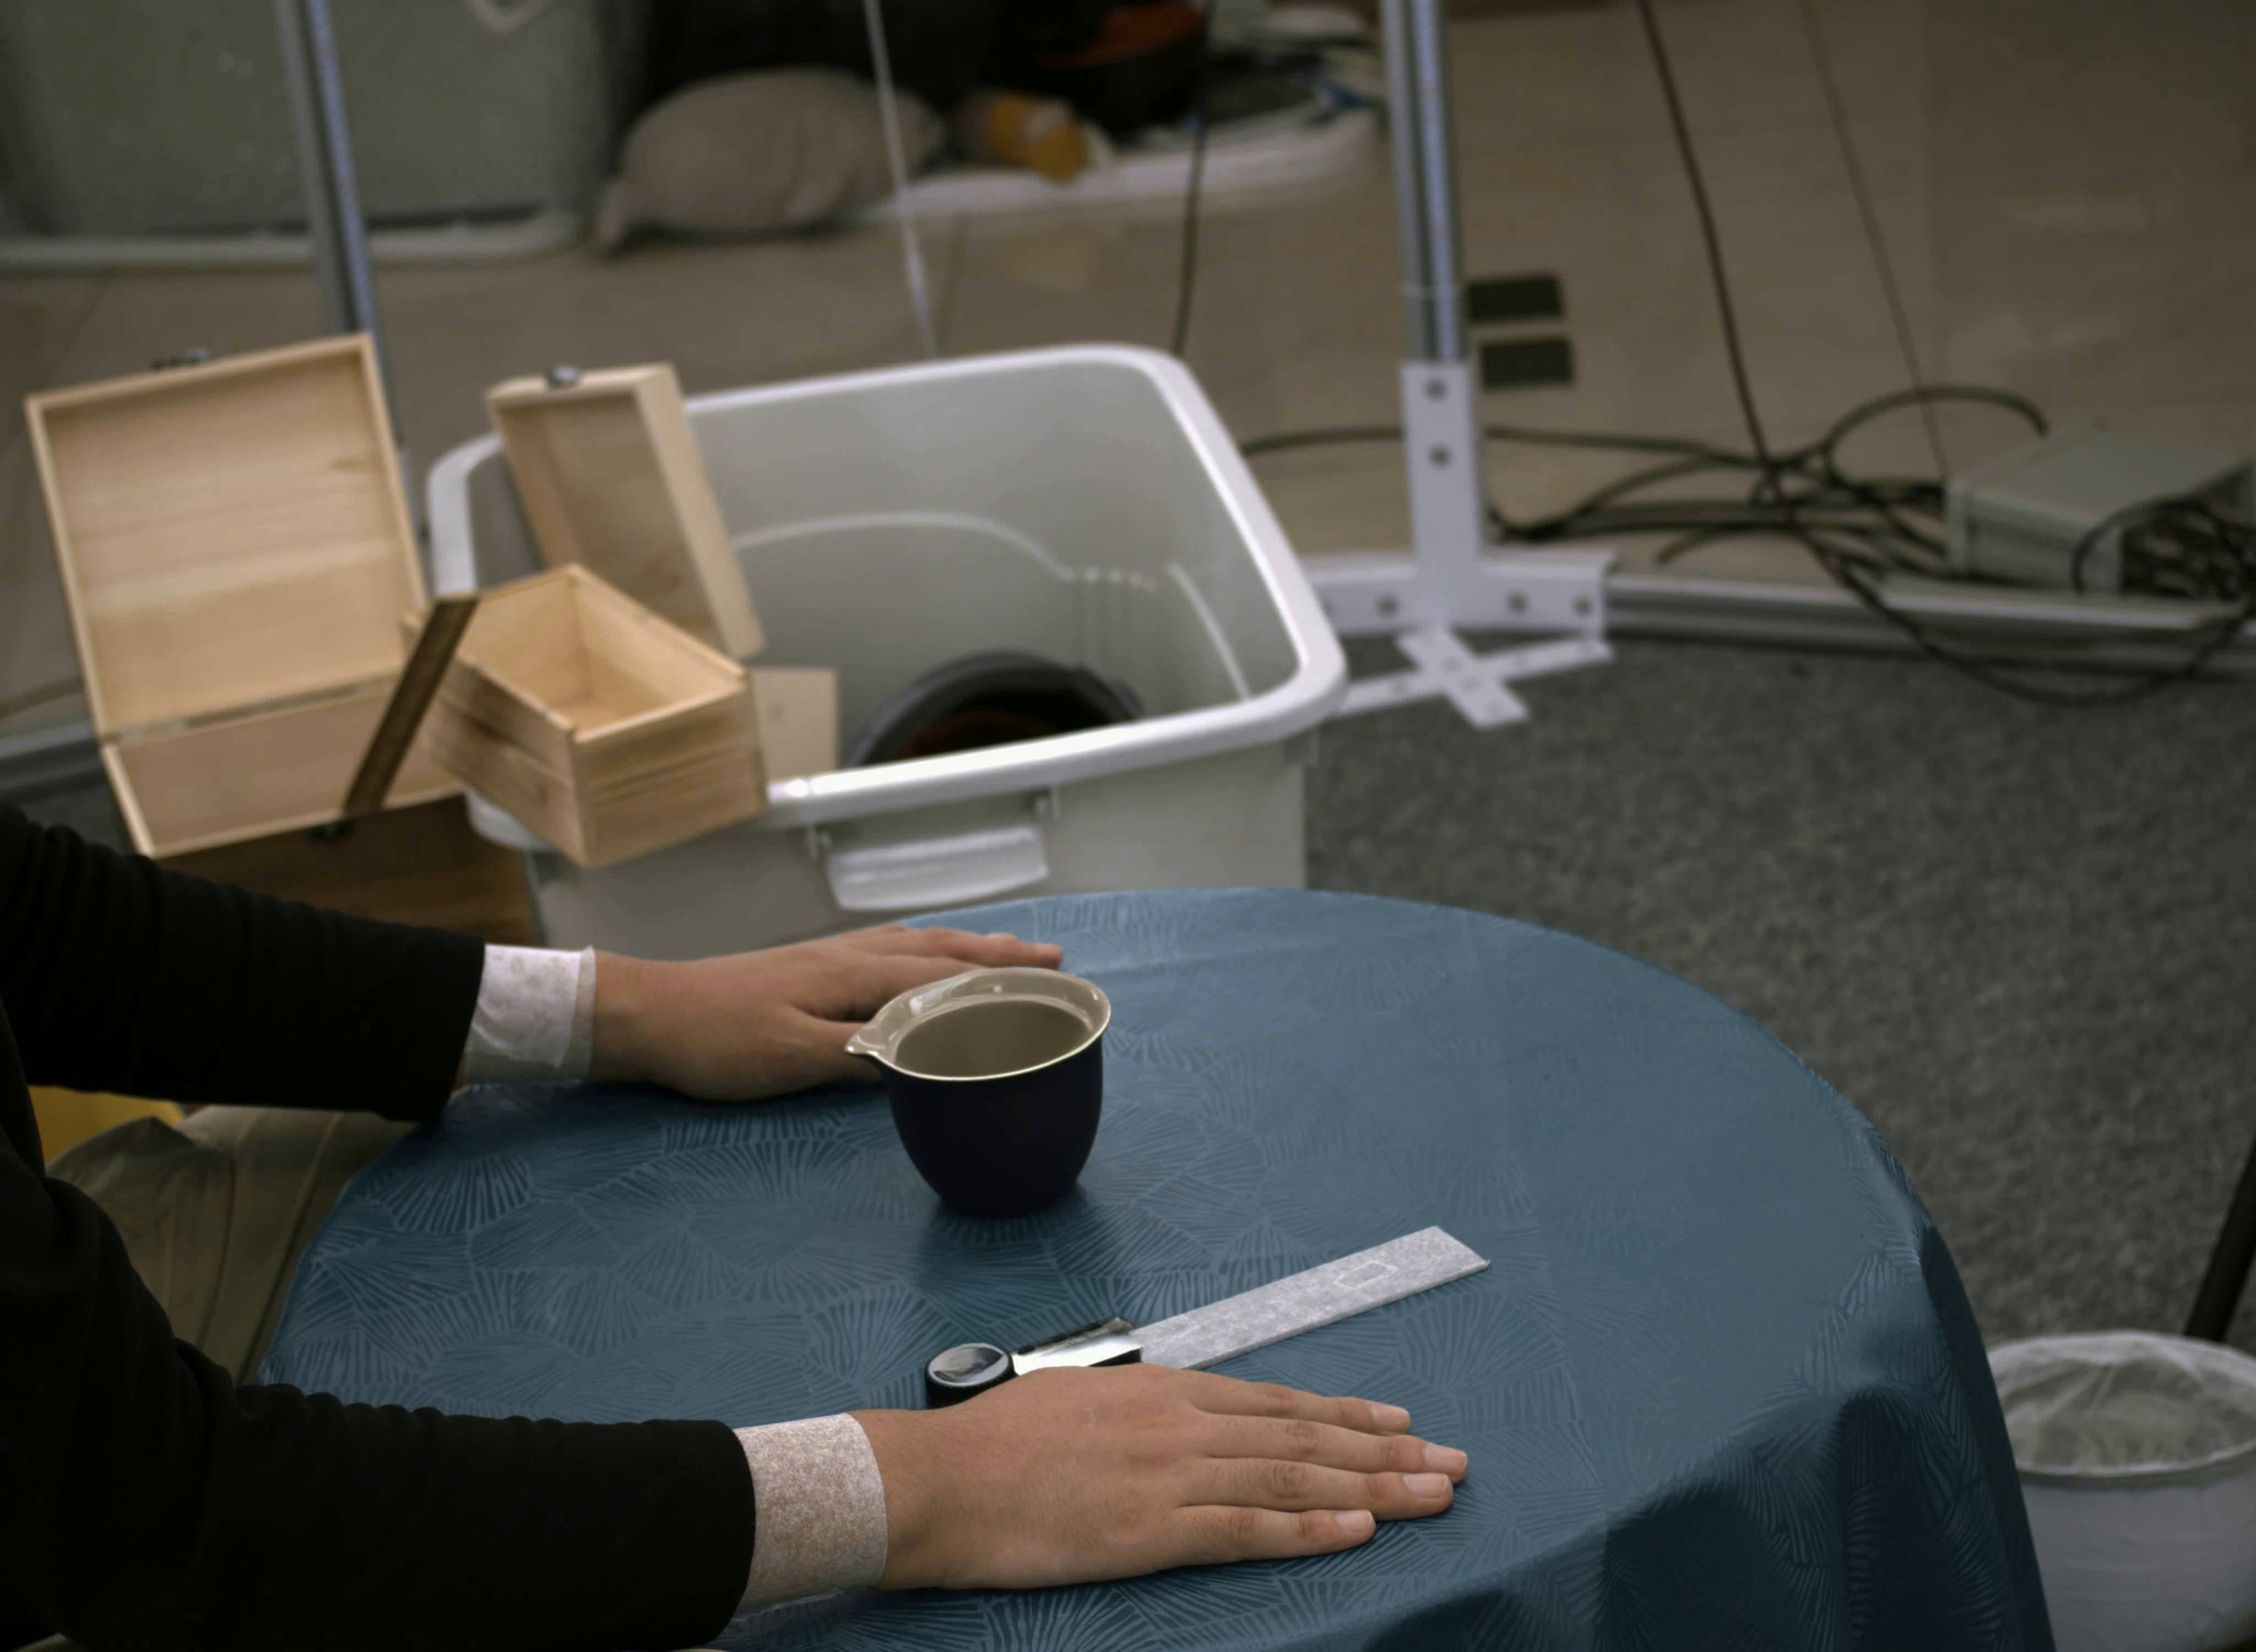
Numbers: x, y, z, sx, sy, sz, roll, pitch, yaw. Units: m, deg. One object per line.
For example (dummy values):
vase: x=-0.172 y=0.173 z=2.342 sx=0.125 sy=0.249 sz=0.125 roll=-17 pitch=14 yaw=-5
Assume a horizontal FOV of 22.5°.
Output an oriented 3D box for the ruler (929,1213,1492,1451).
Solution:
ruler: x=0.028 y=0.175 z=2.037 sx=0.217 sy=0.024 sz=0.038 roll=-18 pitch=34 yaw=-21

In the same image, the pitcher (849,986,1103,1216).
pitcher: x=-0.054 y=0.106 z=2.146 sx=0.096 sy=0.072 sz=0.082 roll=-7 pitch=26 yaw=-2
